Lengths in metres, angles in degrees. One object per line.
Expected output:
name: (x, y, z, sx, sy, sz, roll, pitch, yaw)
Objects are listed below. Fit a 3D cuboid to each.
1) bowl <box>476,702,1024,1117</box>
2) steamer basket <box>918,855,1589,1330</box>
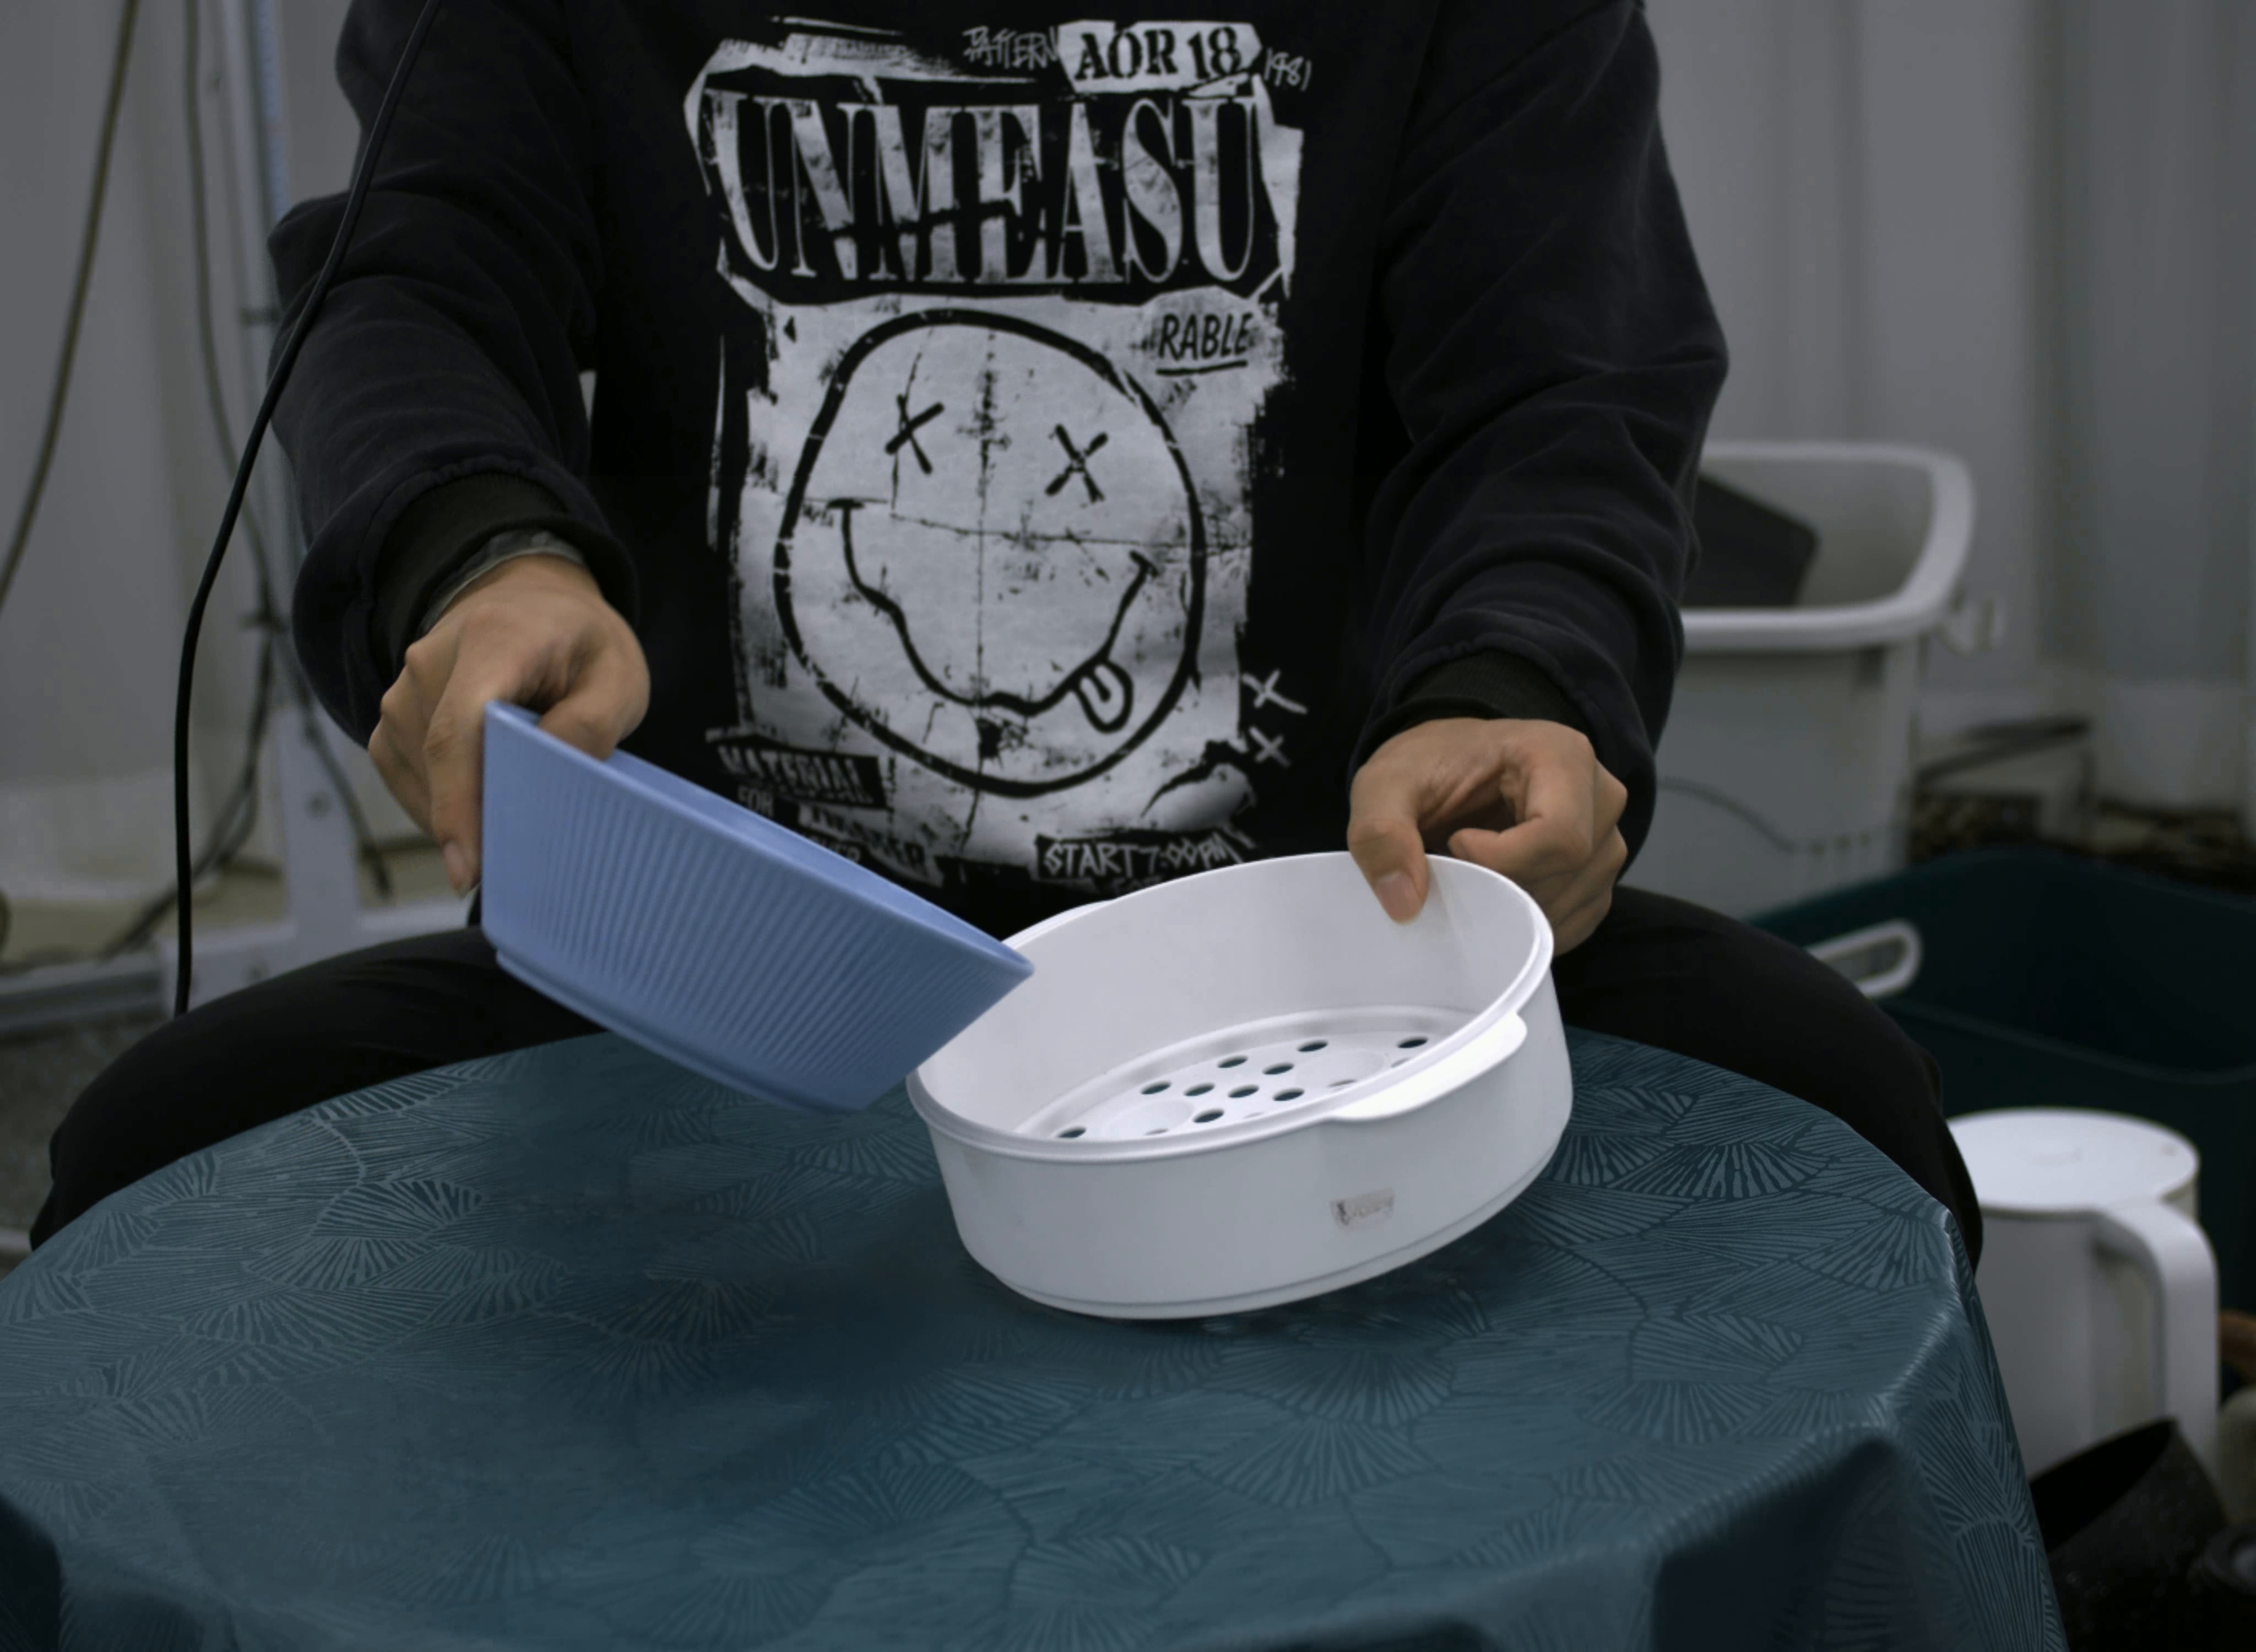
bowl: (-0.122, 0.030, 1.587, 0.176, 0.070, 0.176, 26, 0, 0)
steamer basket: (0.041, 0.080, 1.653, 0.202, 0.069, 0.232, -26, 26, -30)
